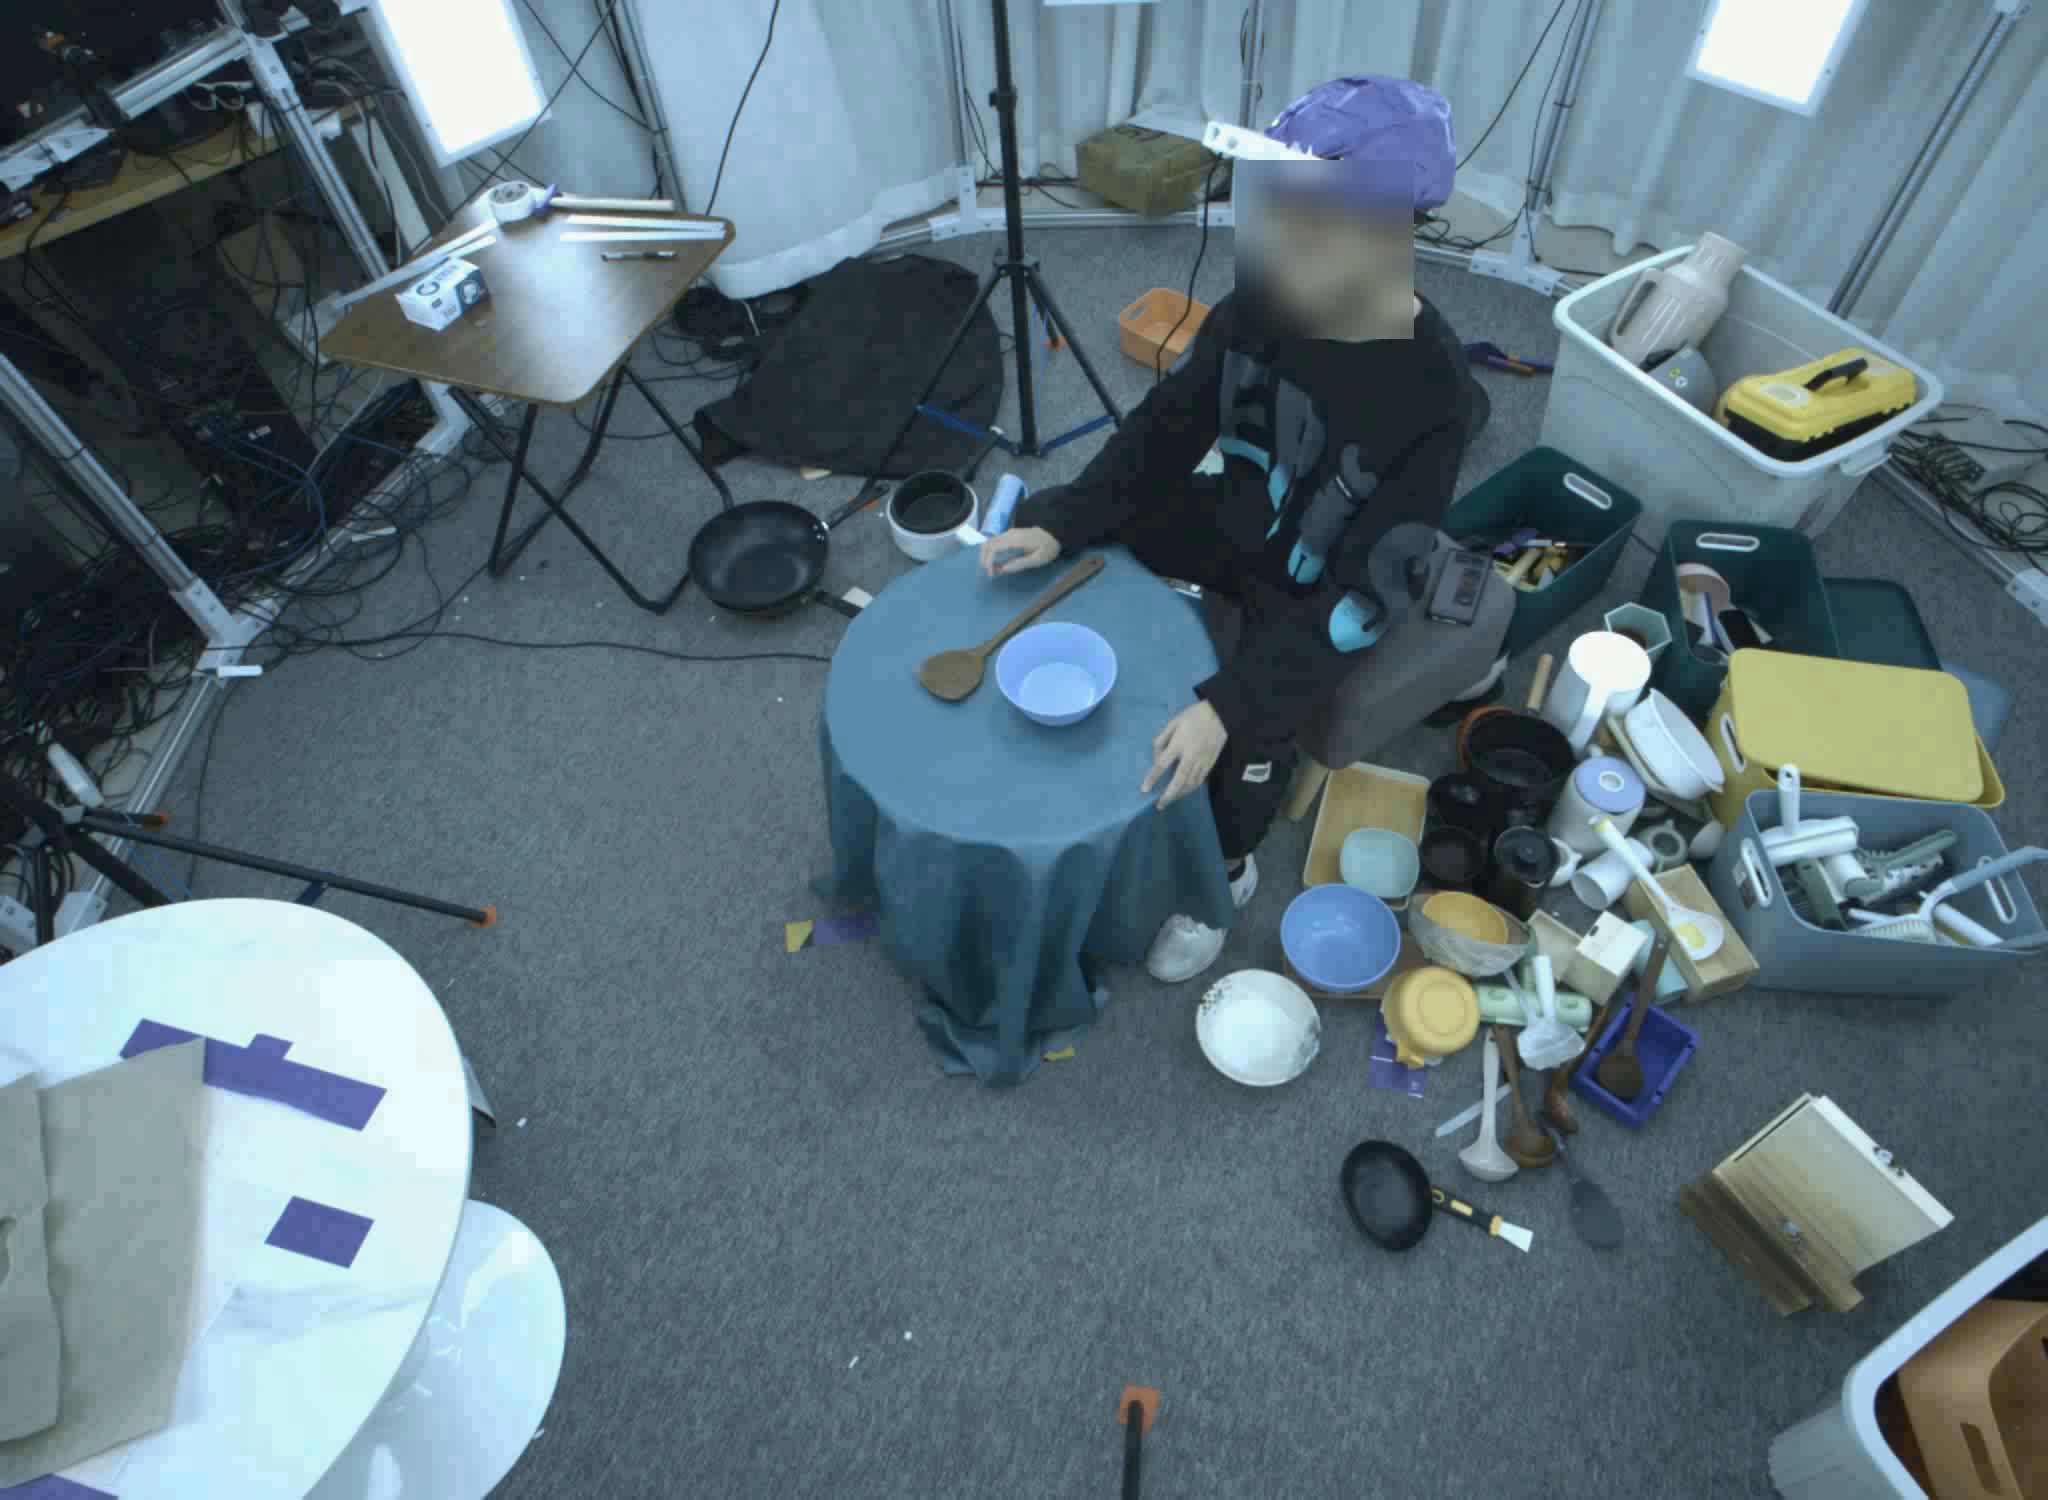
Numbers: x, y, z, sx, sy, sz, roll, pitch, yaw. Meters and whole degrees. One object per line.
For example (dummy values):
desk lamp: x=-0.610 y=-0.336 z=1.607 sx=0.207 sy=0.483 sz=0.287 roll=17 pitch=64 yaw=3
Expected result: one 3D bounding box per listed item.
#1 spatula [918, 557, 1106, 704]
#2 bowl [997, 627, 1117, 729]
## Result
spatula: x=-0.005 y=-0.200 z=1.930 sx=0.094 sy=0.016 sz=0.388 roll=38 pitch=64 yaw=24
bowl: x=0.049 y=-0.097 z=1.822 sx=0.176 sy=0.071 sz=0.174 roll=0 pitch=54 yaw=1
